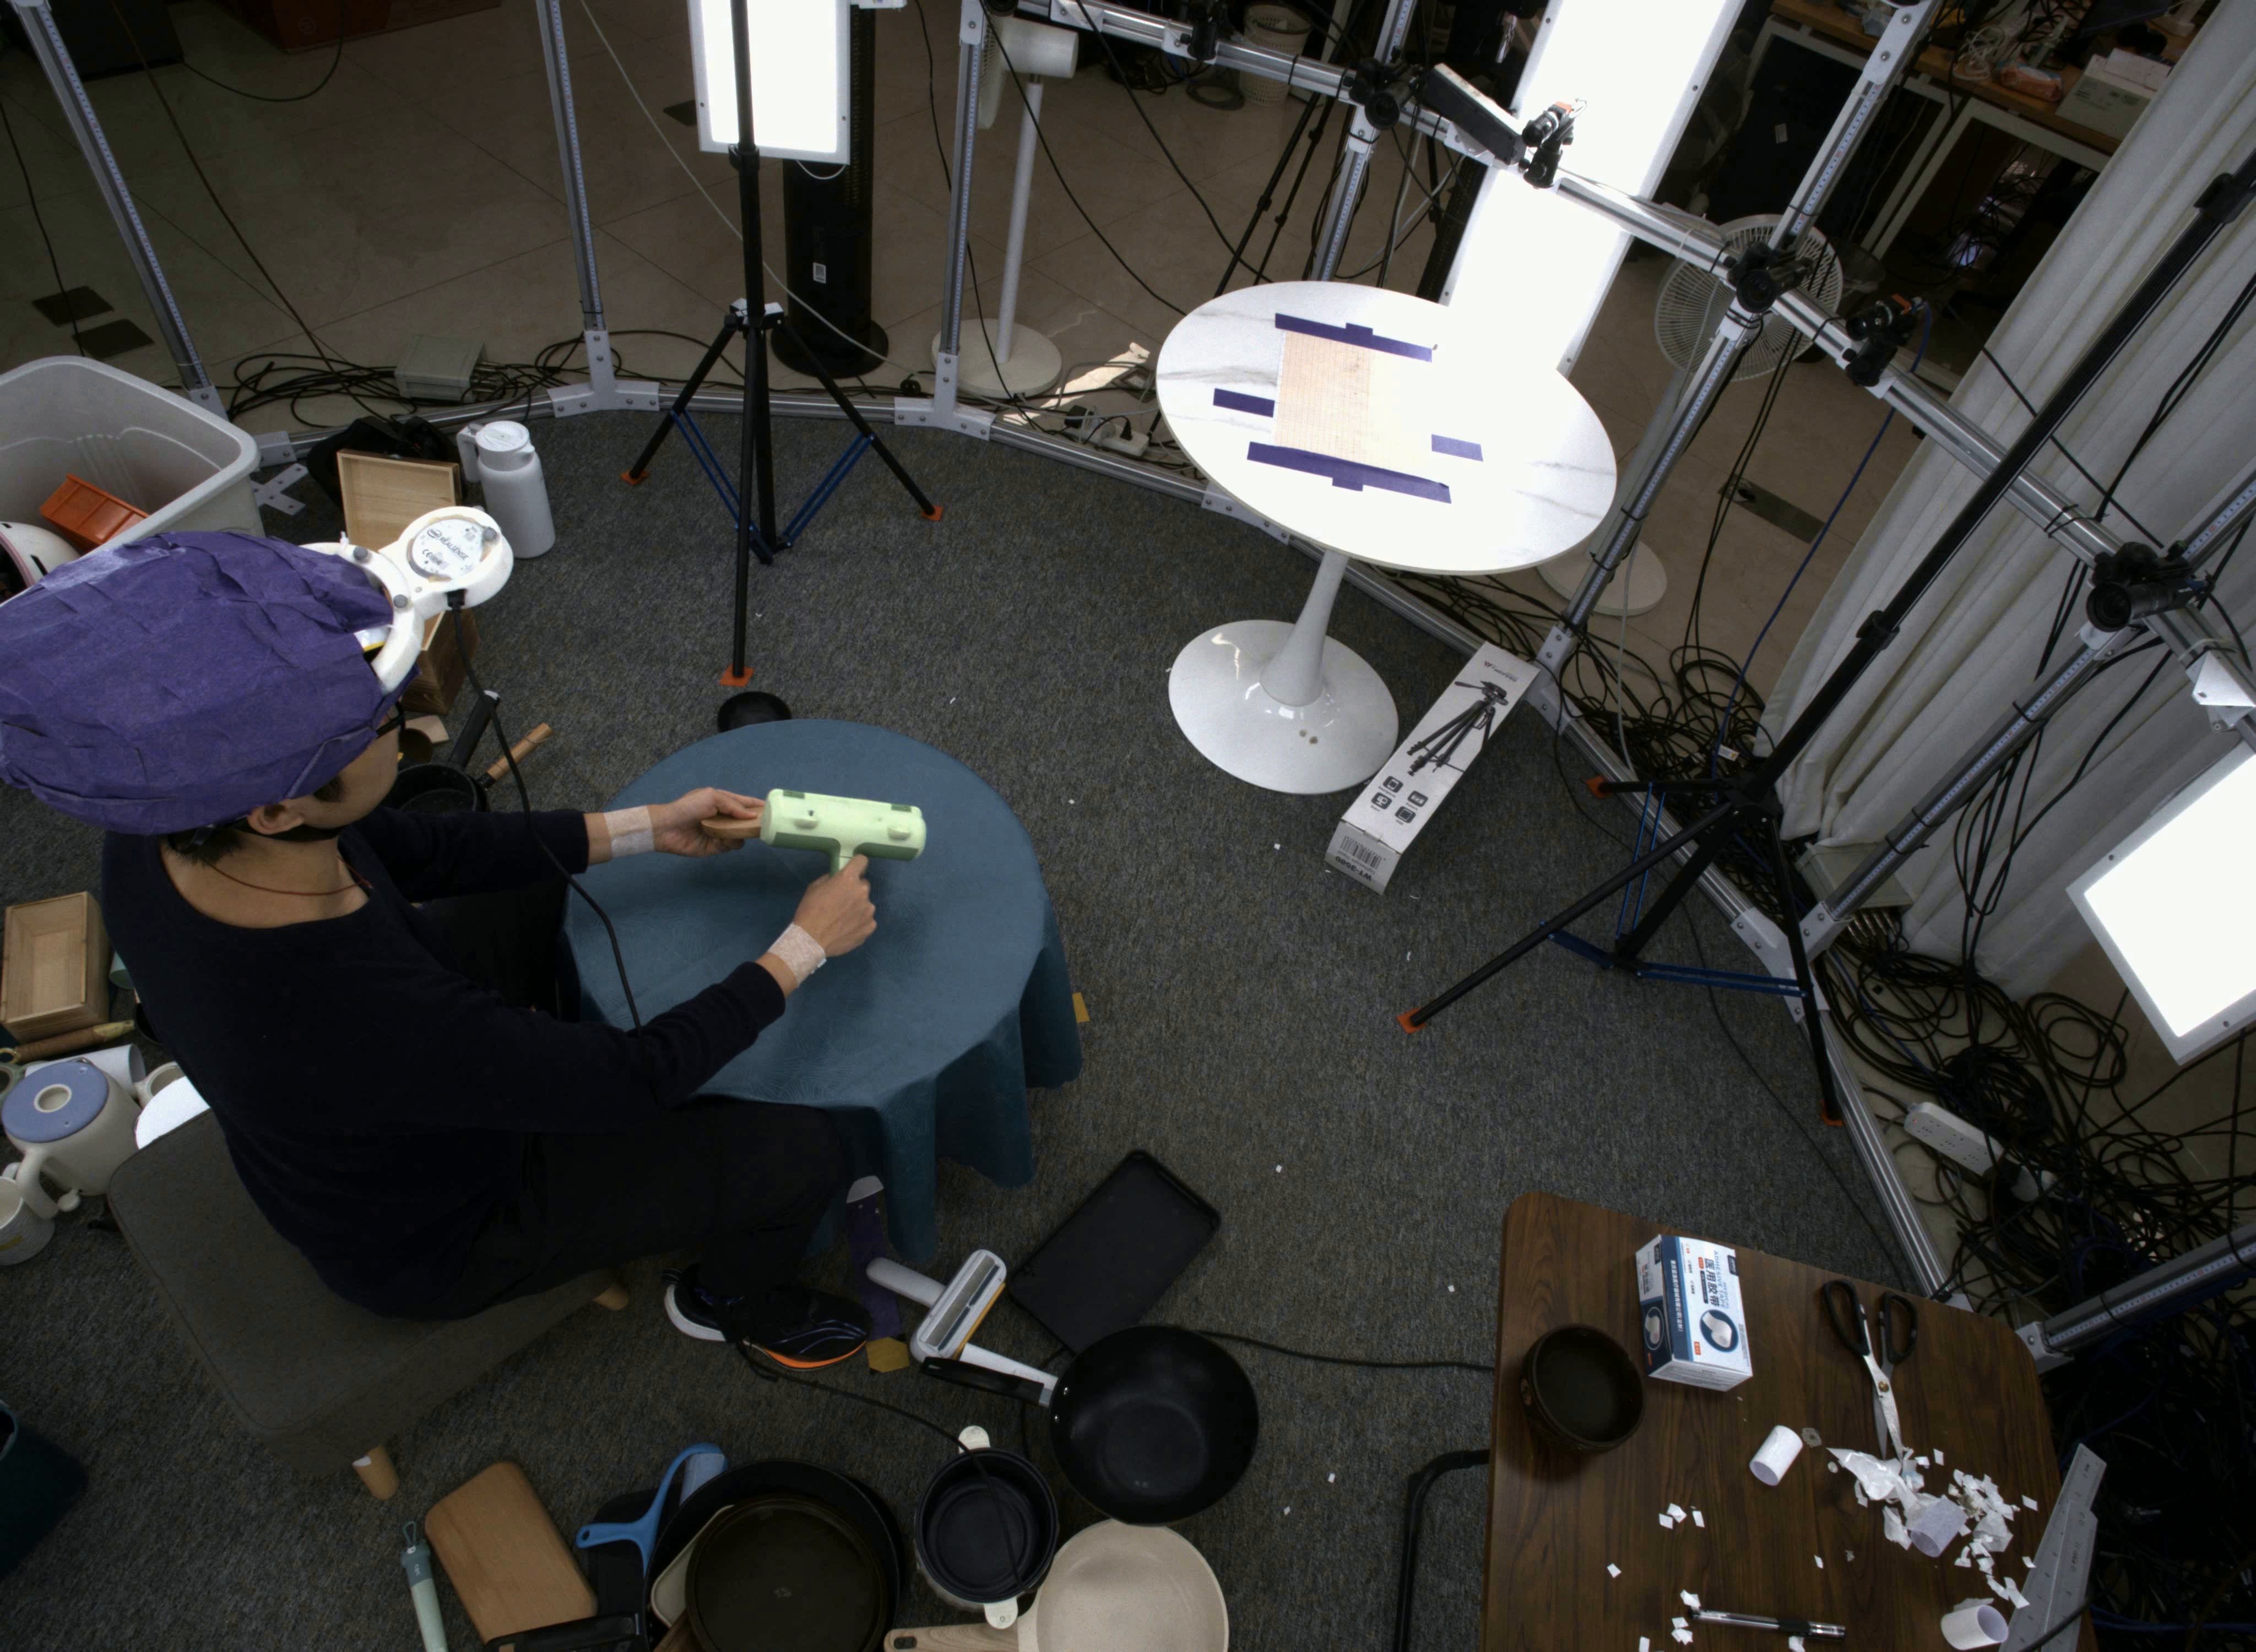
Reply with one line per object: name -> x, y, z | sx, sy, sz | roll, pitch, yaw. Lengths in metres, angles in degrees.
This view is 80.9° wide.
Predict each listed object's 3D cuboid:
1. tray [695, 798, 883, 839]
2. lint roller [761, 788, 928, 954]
tray -> -0.414, -0.011, 1.594 | 0.233, 0.021, 0.098 | -8, 16, -28
lint roller -> -0.328, 0.051, 1.528 | 0.202, 0.081, 0.182 | 7, 66, -33
